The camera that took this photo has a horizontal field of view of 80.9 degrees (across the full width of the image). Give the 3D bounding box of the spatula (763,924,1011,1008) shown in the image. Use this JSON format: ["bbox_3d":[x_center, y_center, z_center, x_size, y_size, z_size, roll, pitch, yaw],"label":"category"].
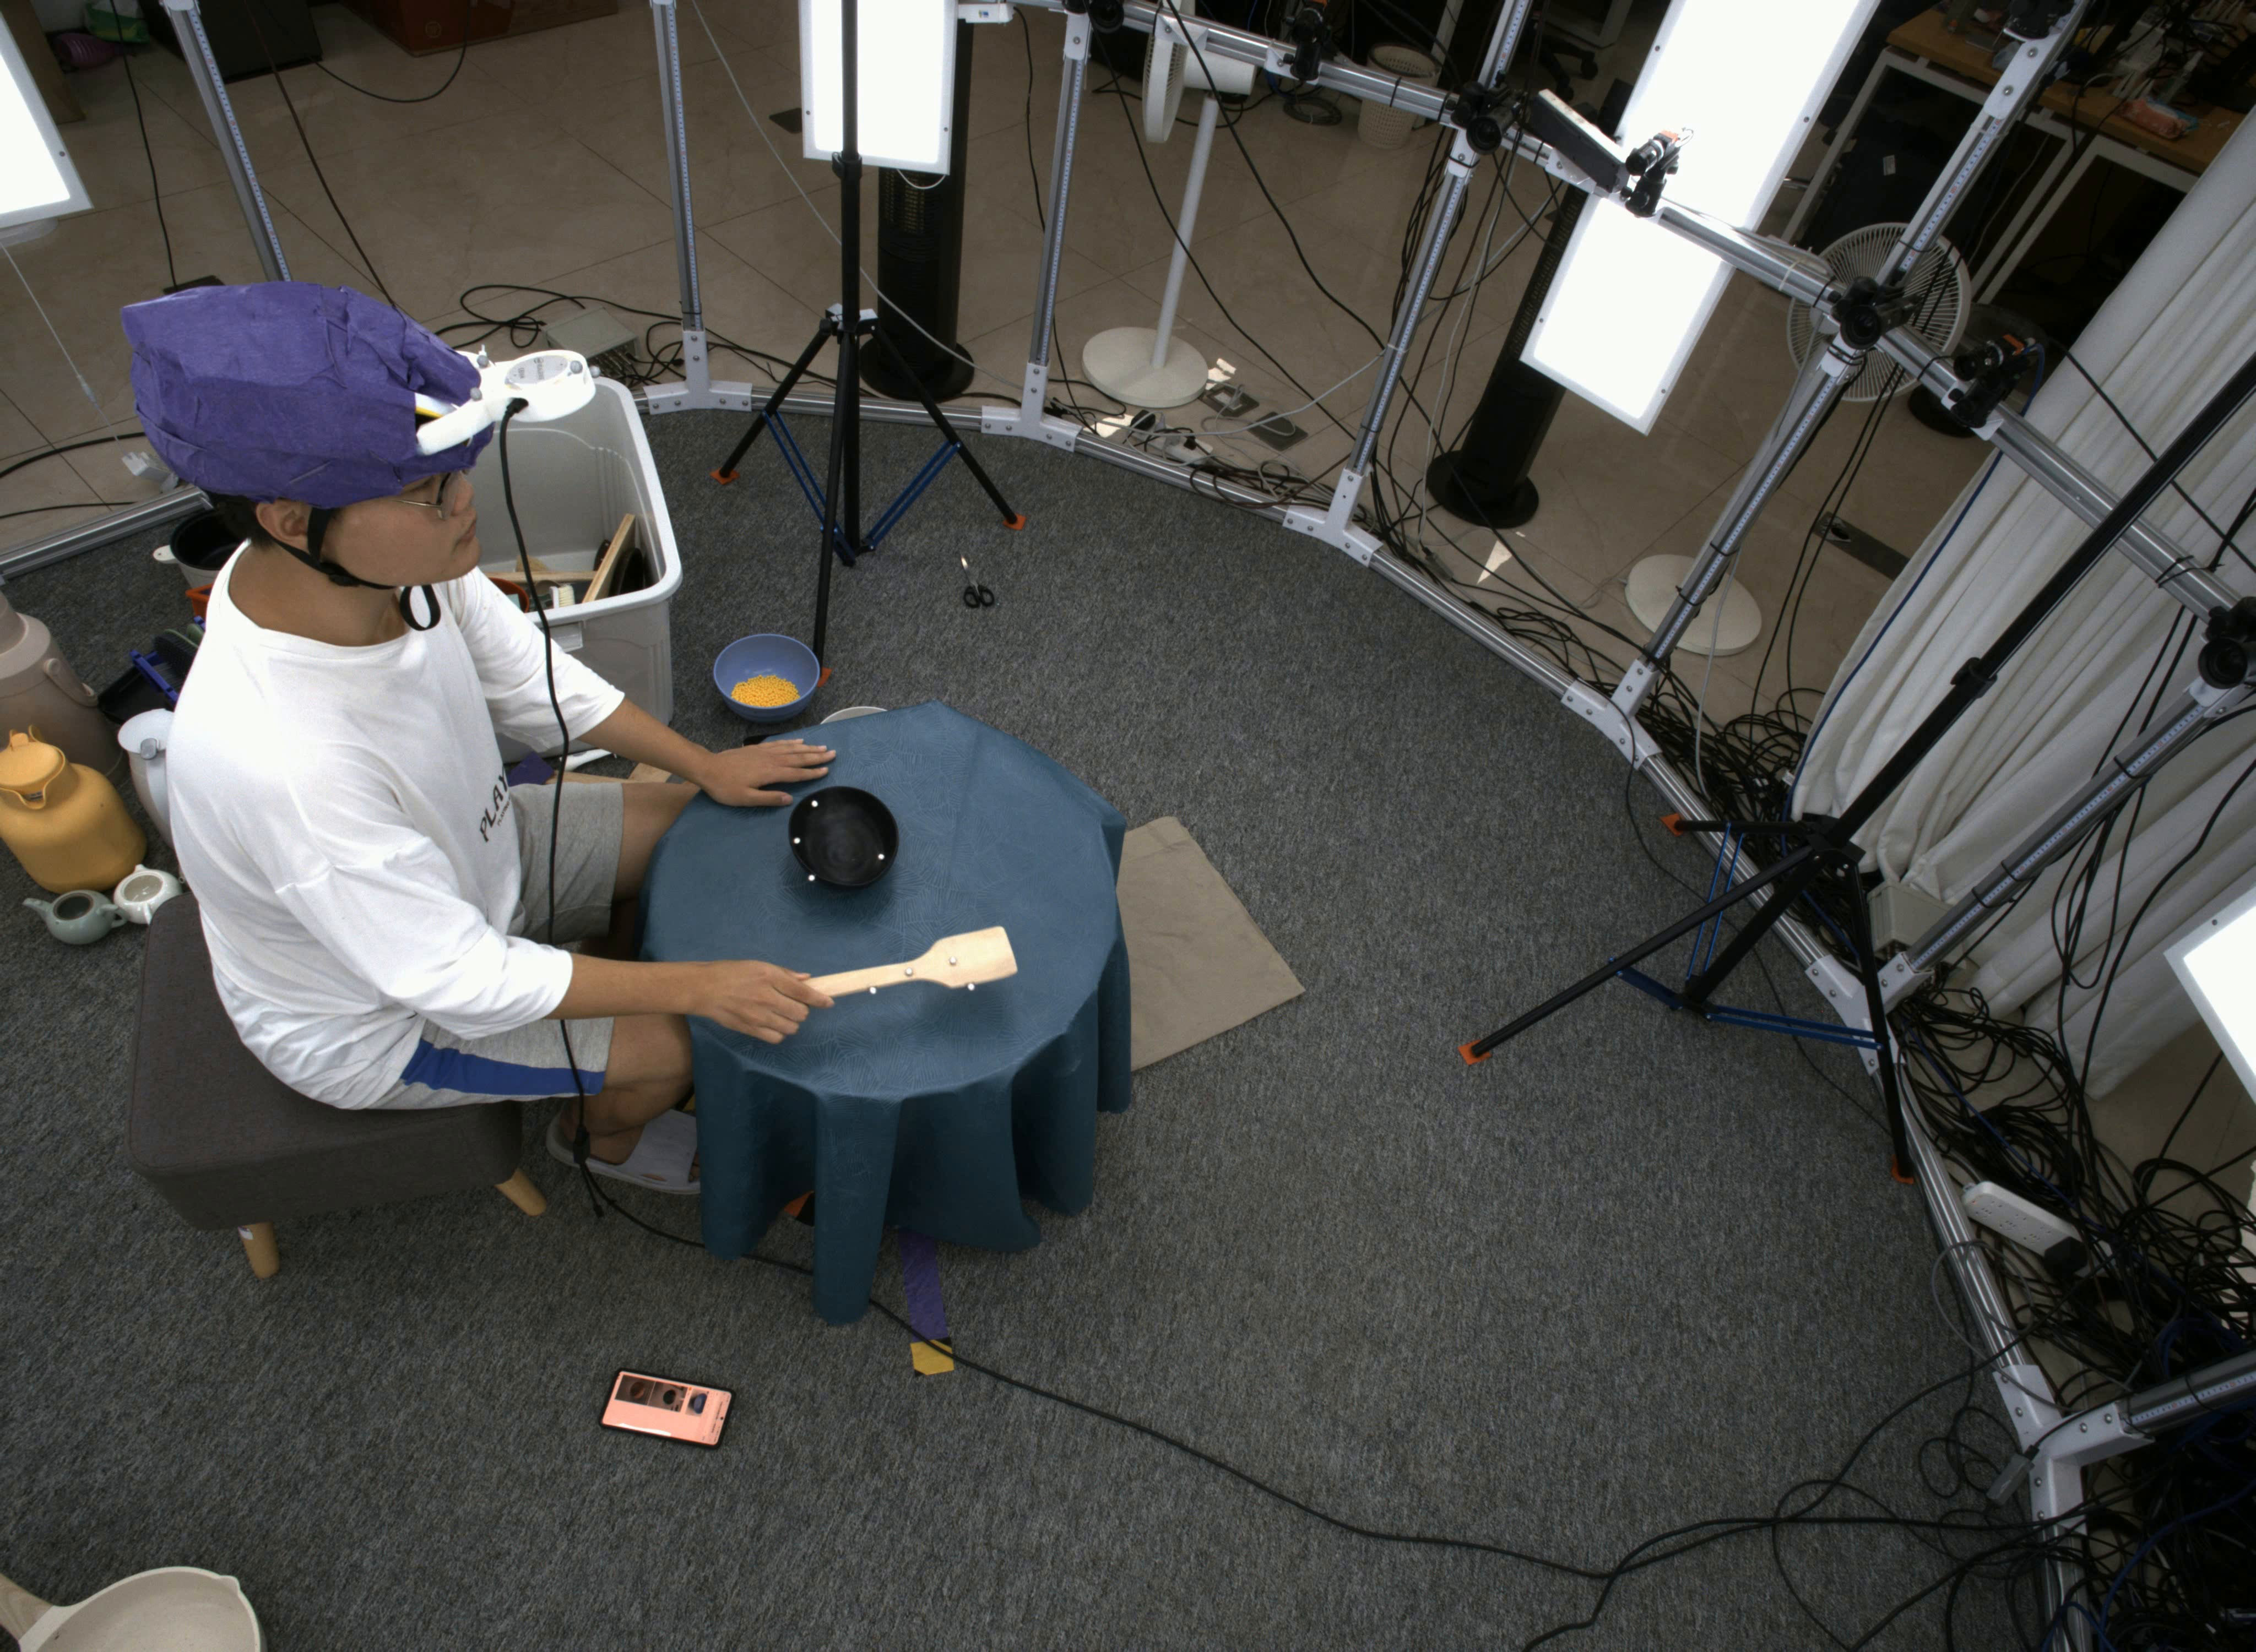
[{"bbox_3d":[-0.285,0.172,1.541,0.294,0.011,0.070,-11,58,-21],"label":"spatula"}]

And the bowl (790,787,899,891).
[{"bbox_3d":[-0.368,0.024,1.689,0.138,0.068,0.166,-14,56,-21],"label":"bowl"}]
